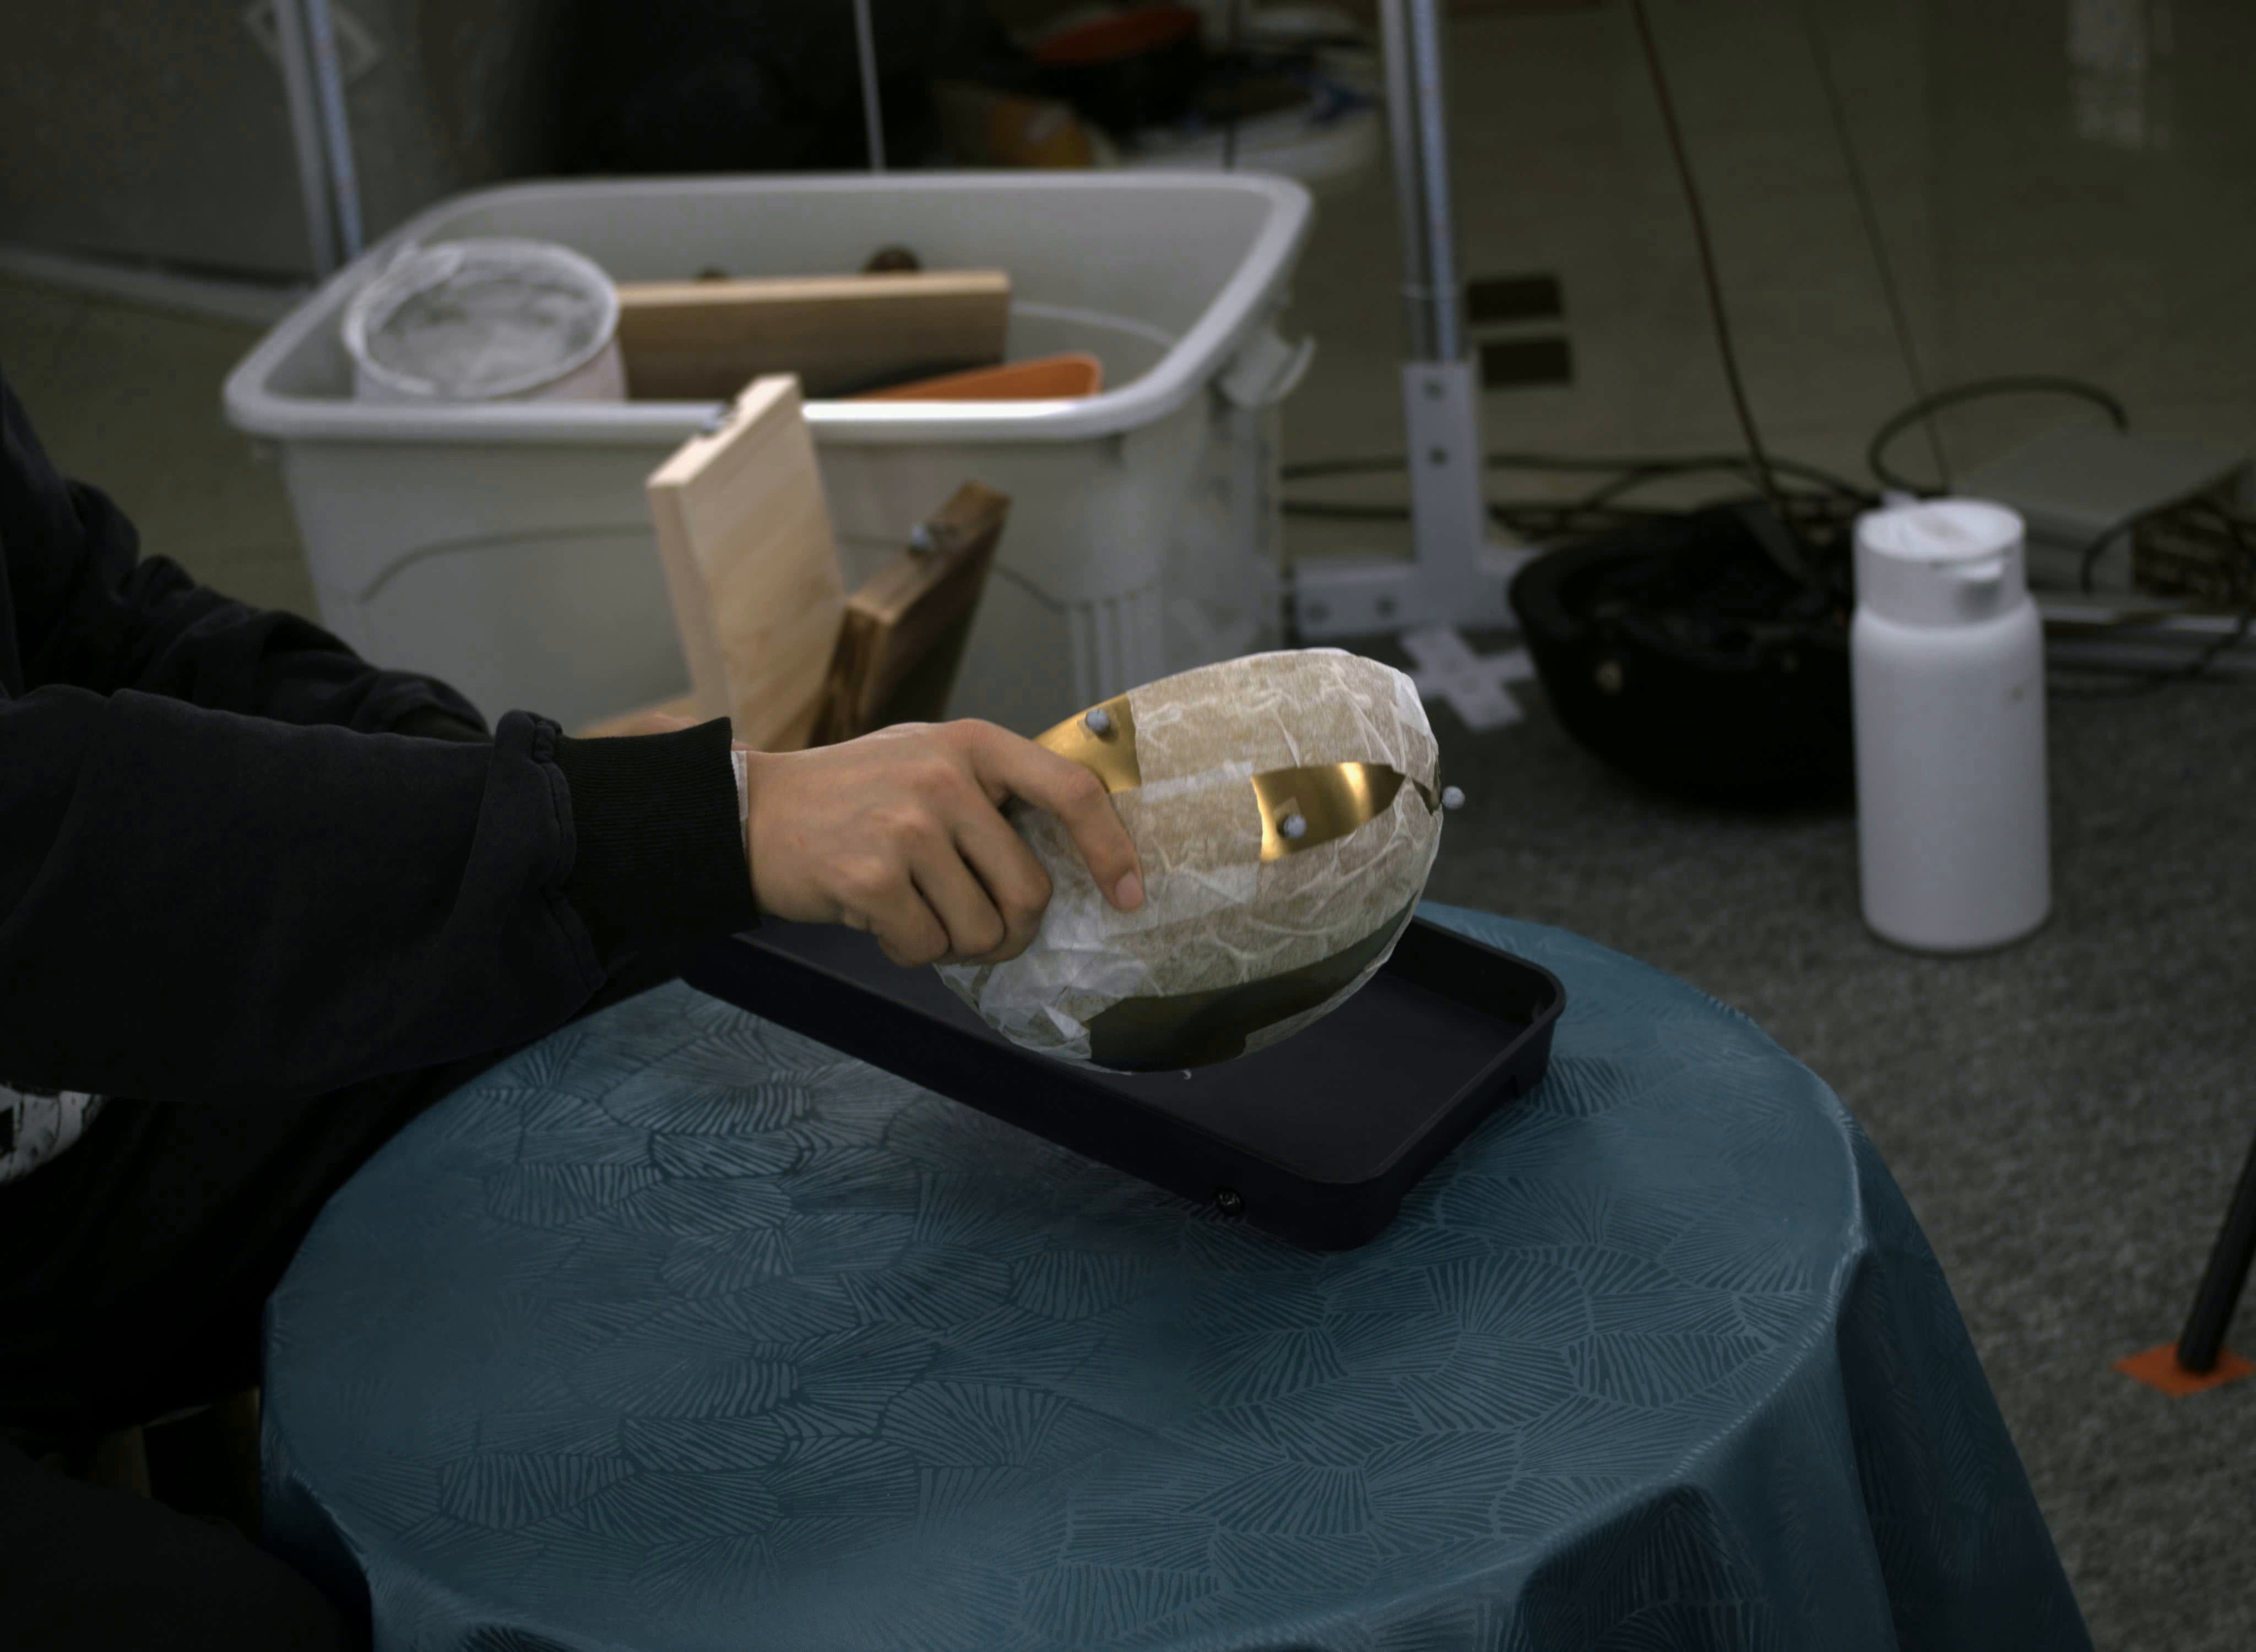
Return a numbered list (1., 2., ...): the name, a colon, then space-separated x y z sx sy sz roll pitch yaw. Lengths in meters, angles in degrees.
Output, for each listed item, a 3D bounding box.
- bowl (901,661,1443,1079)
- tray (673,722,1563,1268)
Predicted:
1. bowl: 0.026 0.033 2.030 0.214 0.218 0.093 -15 67 -18
2. tray: -0.006 0.061 2.201 0.315 0.038 0.182 25 36 23
